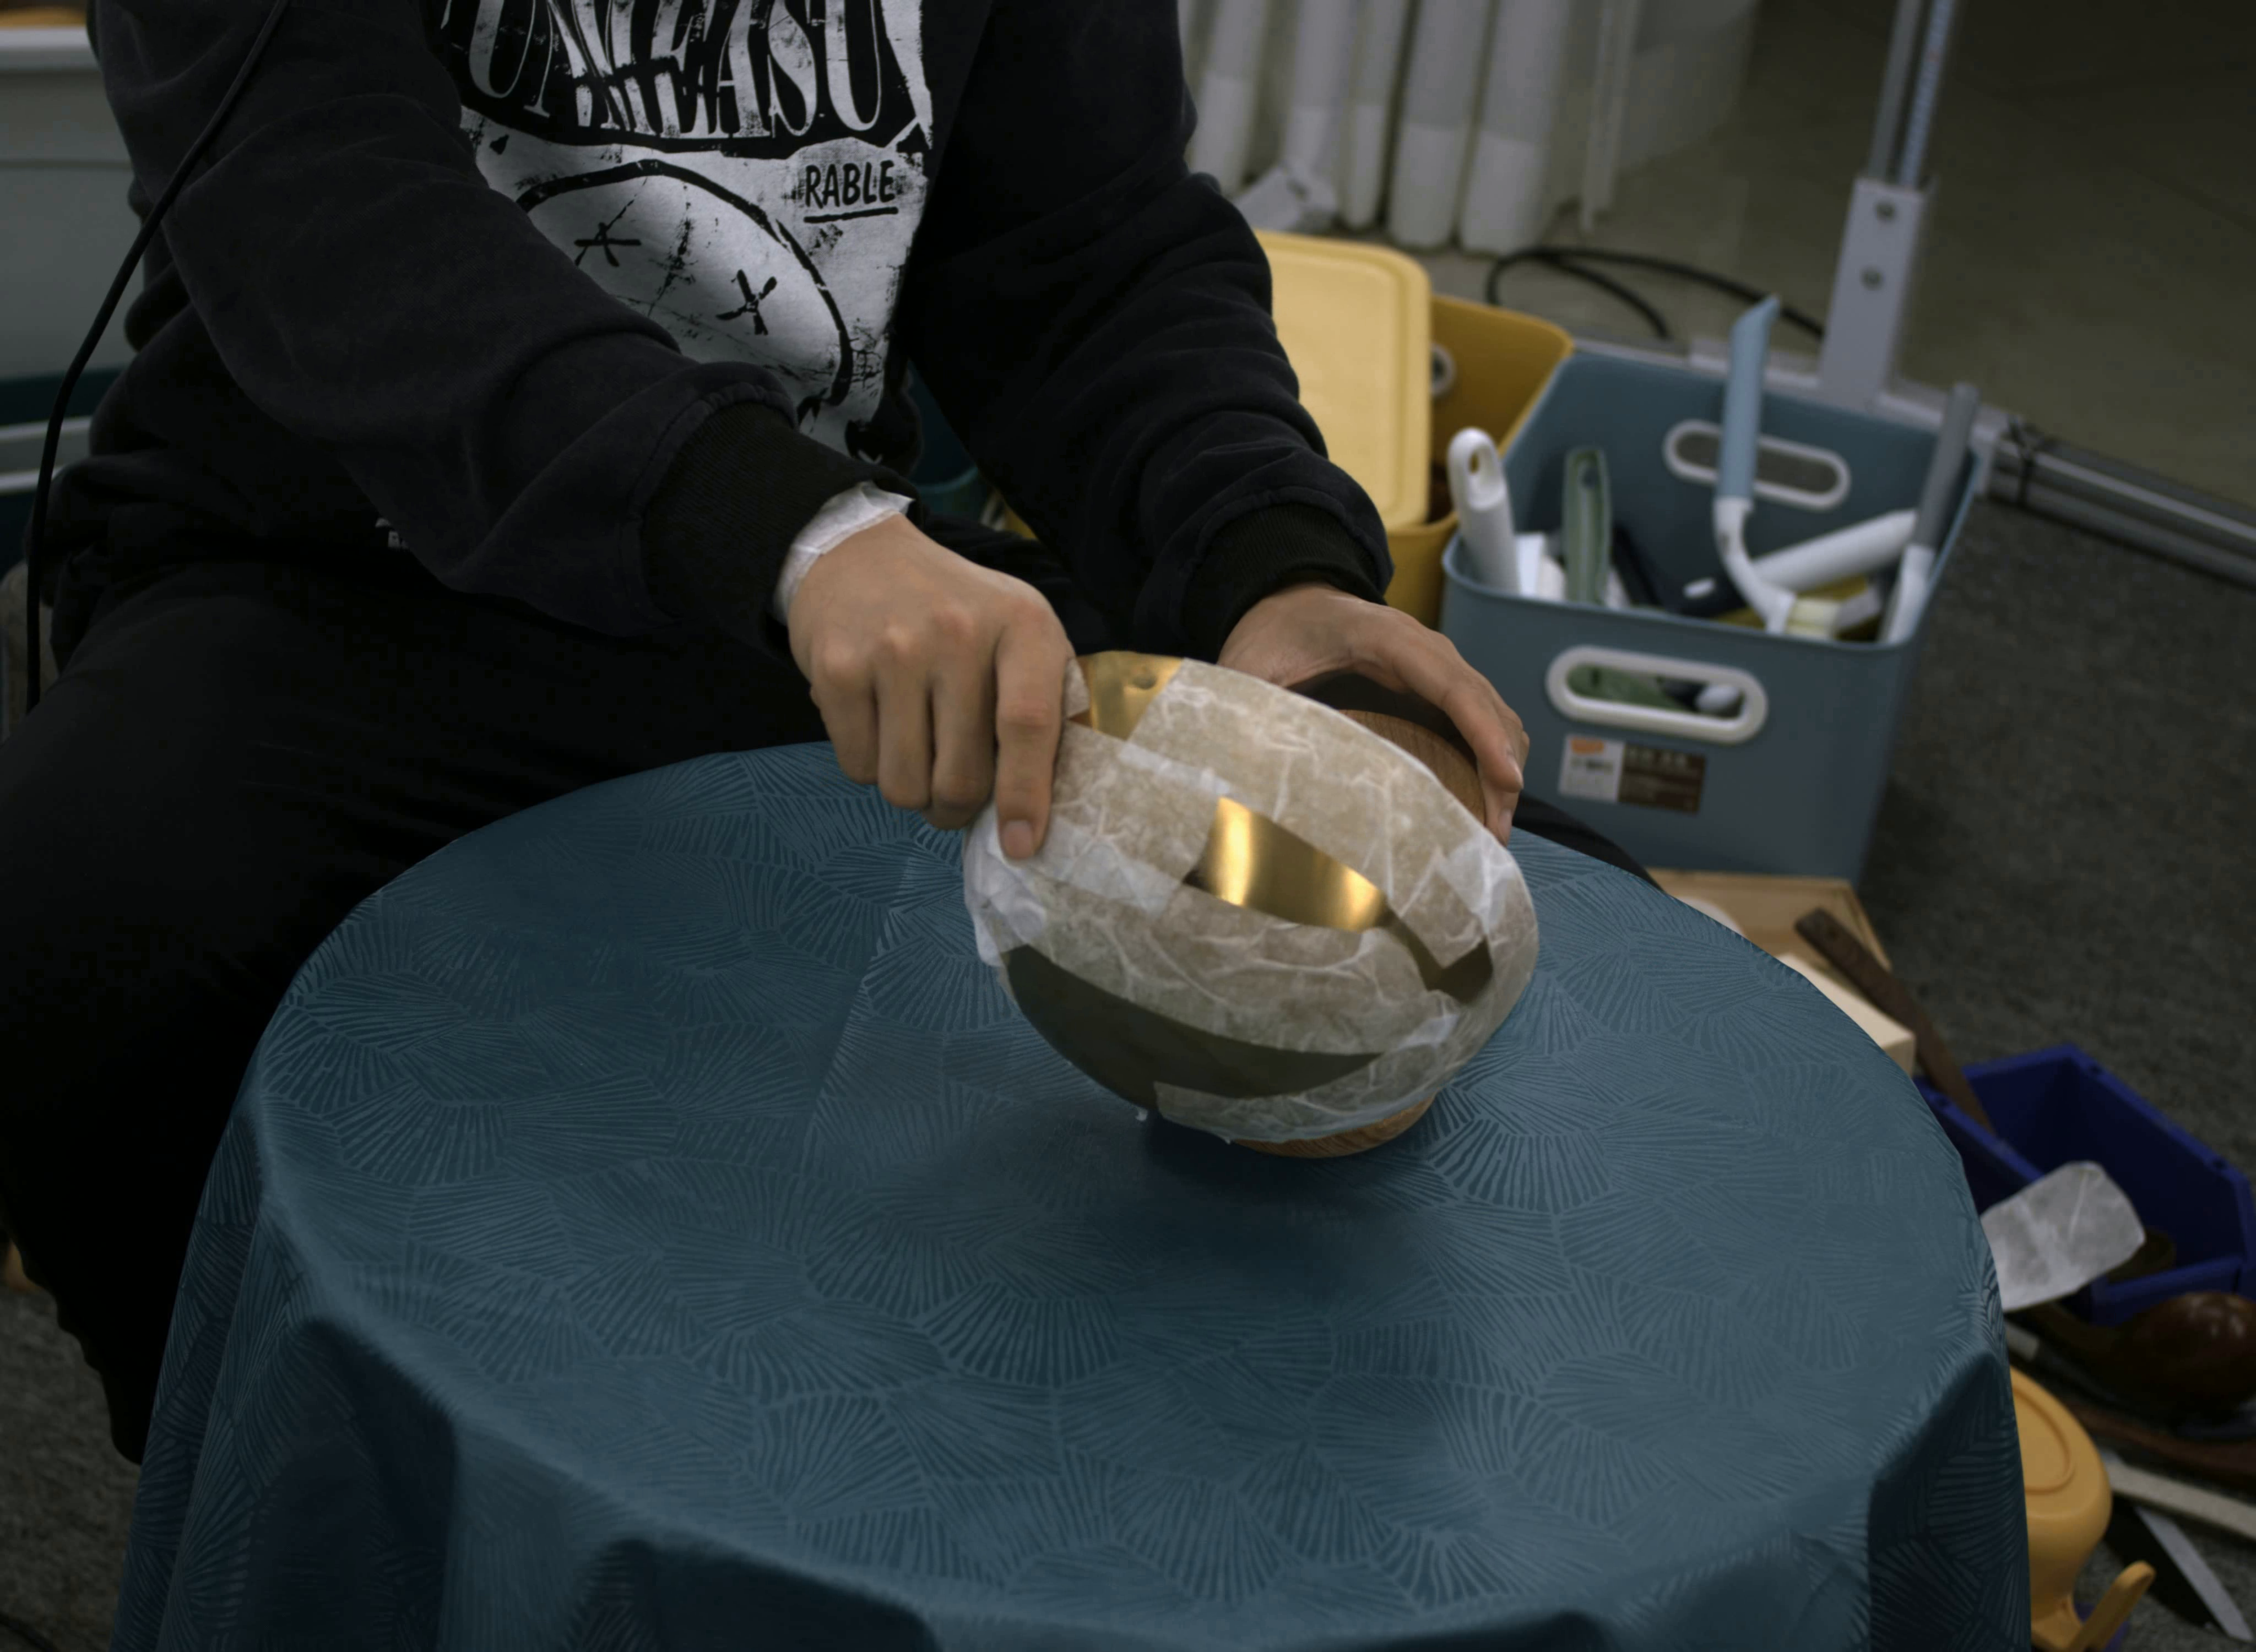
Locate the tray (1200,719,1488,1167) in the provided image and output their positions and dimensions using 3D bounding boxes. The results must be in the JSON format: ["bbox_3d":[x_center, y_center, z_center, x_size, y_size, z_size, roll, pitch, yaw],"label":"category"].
[{"bbox_3d":[0.073,0.040,1.908,0.101,0.020,0.232,5,42,6],"label":"tray"}]

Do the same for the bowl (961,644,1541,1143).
[{"bbox_3d":[0.026,0.042,1.752,0.215,0.213,0.095,17,60,19],"label":"bowl"}]
